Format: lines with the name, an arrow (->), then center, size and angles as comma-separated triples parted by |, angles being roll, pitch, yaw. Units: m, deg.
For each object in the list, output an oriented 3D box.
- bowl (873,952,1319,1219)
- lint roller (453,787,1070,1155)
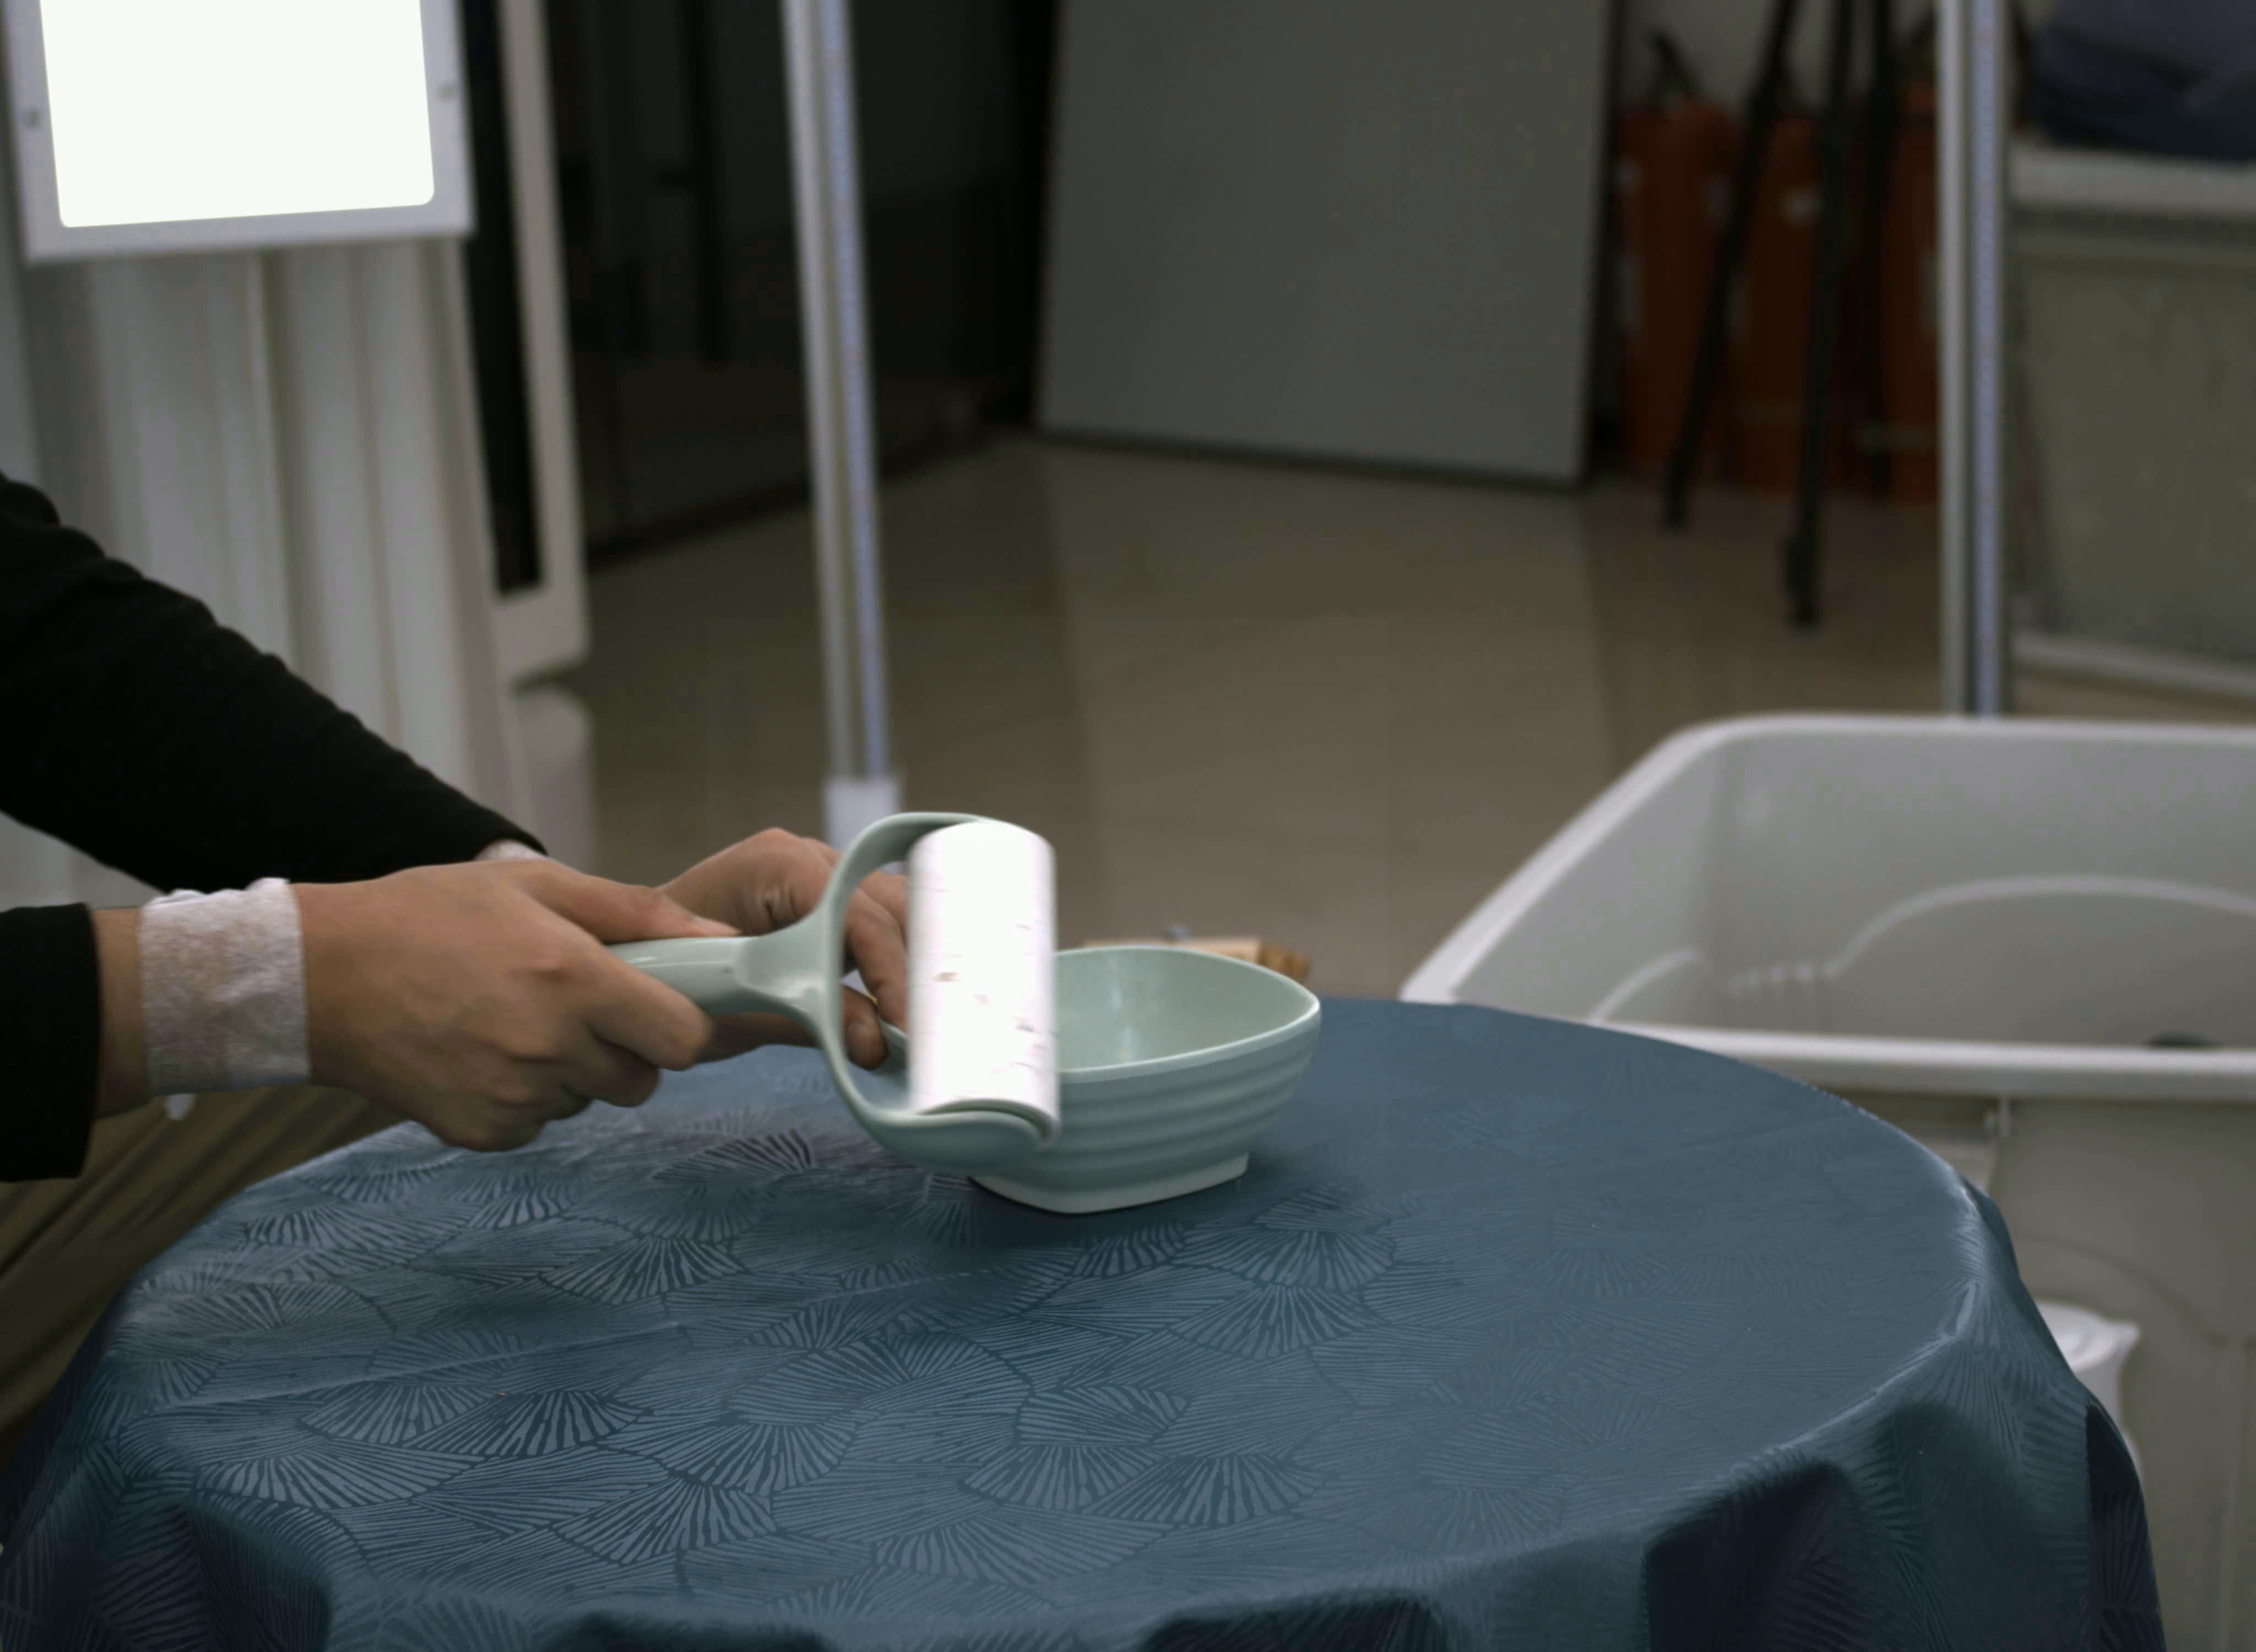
bowl -> -0.010, 0.088, 1.786 | 0.149, 0.059, 0.151 | -2, 13, 0
lint roller -> -0.117, 0.048, 1.707 | 0.195, 0.118, 0.048 | -2, -29, 1
